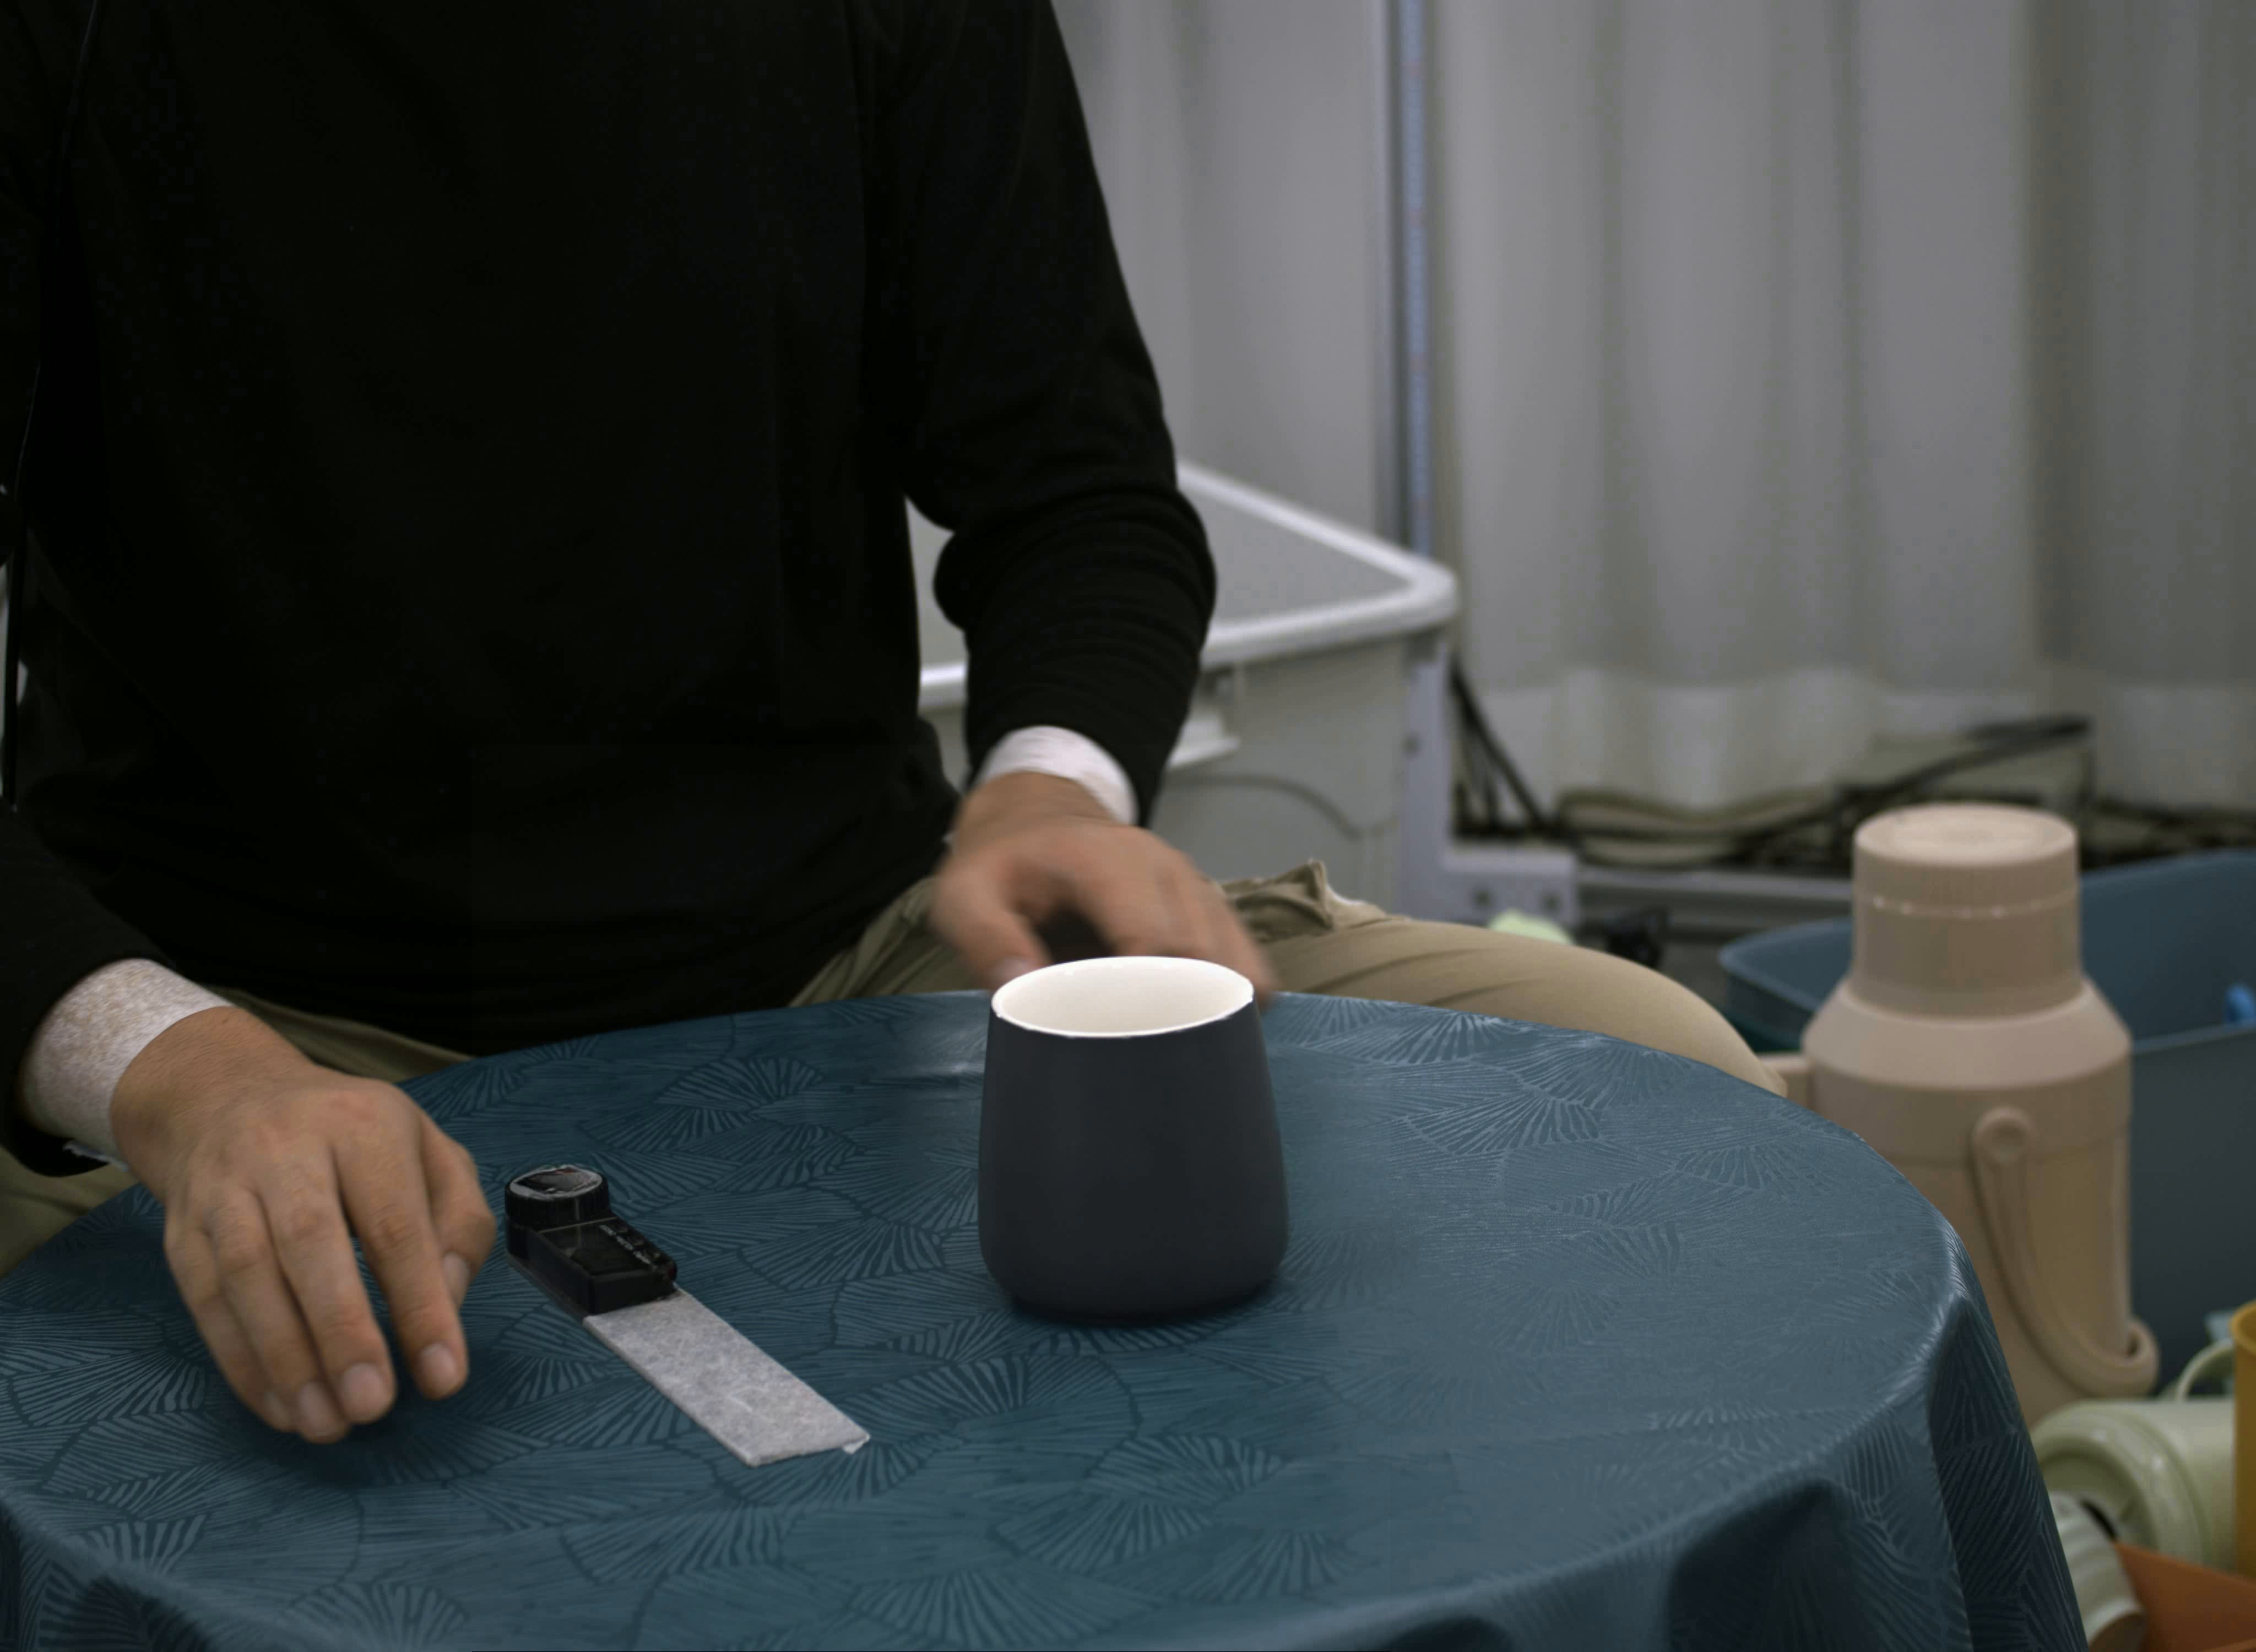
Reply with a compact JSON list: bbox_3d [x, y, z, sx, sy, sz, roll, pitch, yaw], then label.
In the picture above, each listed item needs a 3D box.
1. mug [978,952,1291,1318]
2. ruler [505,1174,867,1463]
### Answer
[{"bbox_3d":[-0.004,0.088,1.635,0.093,0.089,0.124,-7,16,-18],"label":"mug"},{"bbox_3d":[-0.135,0.141,1.599,0.038,0.024,0.220,-17,18,-22],"label":"ruler"}]
